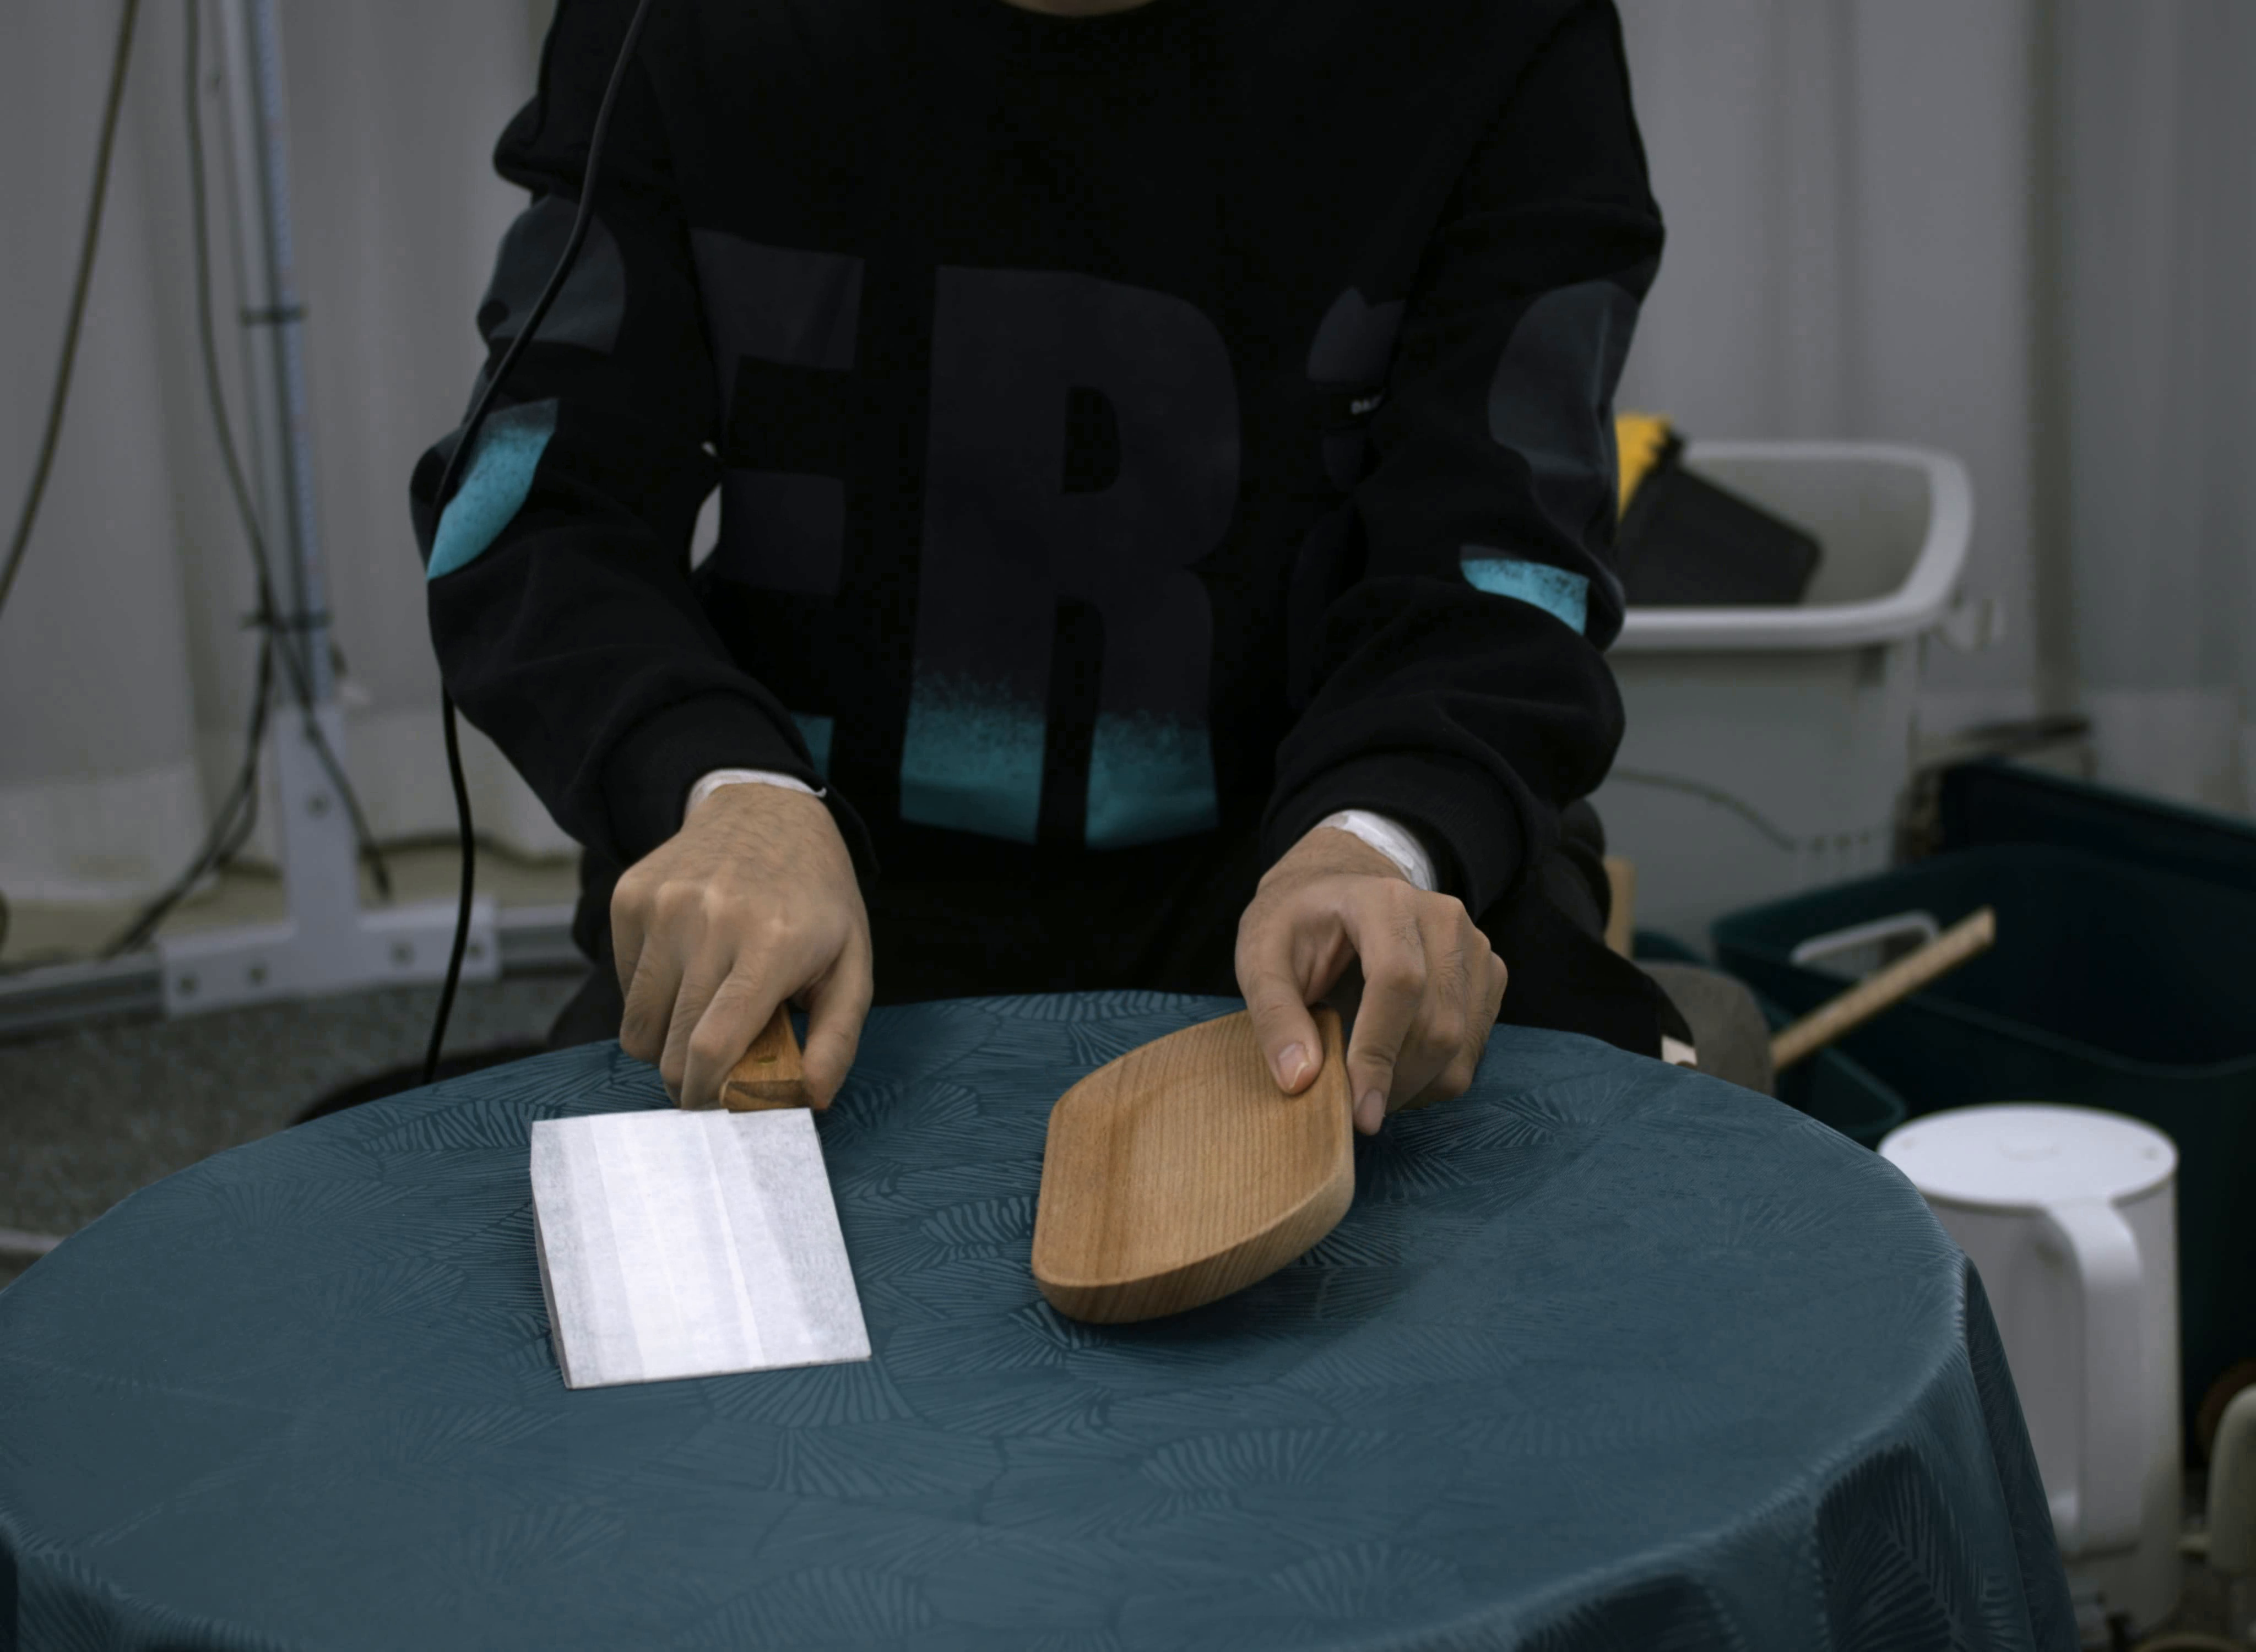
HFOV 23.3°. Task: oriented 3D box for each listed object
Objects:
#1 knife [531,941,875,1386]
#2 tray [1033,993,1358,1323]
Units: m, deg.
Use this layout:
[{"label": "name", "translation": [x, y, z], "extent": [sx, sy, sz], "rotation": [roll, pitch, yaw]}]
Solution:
[{"label": "knife", "translation": [-0.139, 0.104, 1.715], "extent": [0.092, 0.021, 0.309], "rotation": [-5, 22, -8]}, {"label": "tray", "translation": [0.022, 0.100, 1.684], "extent": [0.101, 0.020, 0.232], "rotation": [-19, 13, 7]}]
